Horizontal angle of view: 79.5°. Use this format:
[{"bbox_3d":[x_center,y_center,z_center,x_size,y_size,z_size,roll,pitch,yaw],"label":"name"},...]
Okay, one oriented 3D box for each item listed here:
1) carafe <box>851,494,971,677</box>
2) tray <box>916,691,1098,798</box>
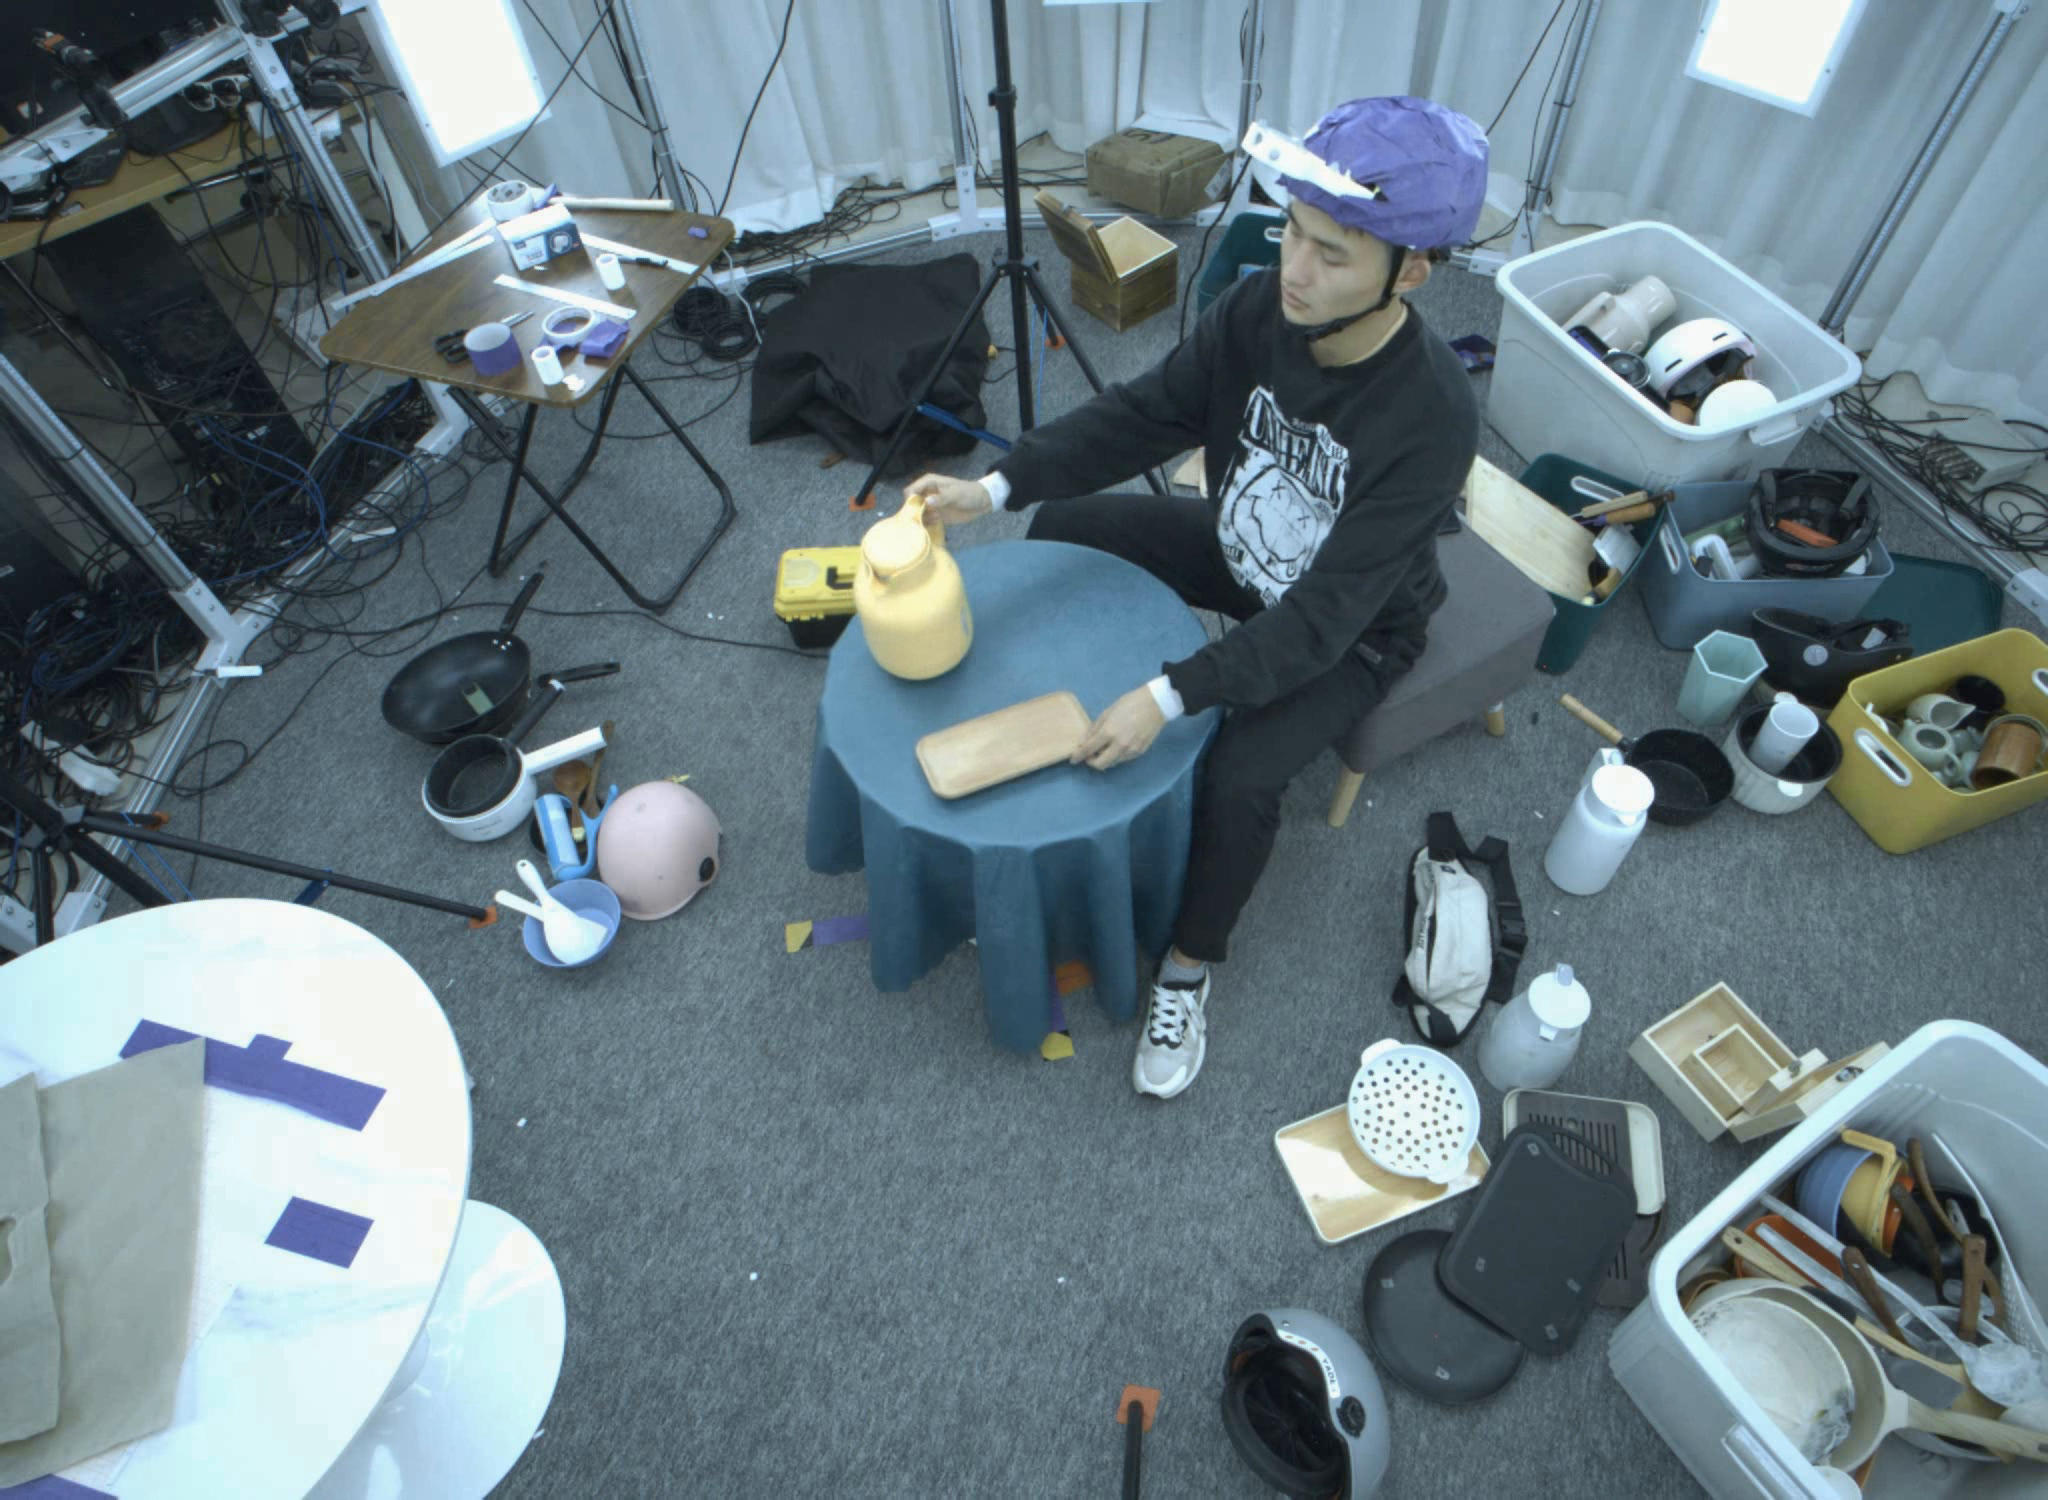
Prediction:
[{"bbox_3d":[-0.162,-0.245,1.787,0.162,0.263,0.202,16,66,11],"label":"carafe"},{"bbox_3d":[-0.025,-0.008,1.770,0.252,0.023,0.128,-18,50,-11],"label":"tray"}]
